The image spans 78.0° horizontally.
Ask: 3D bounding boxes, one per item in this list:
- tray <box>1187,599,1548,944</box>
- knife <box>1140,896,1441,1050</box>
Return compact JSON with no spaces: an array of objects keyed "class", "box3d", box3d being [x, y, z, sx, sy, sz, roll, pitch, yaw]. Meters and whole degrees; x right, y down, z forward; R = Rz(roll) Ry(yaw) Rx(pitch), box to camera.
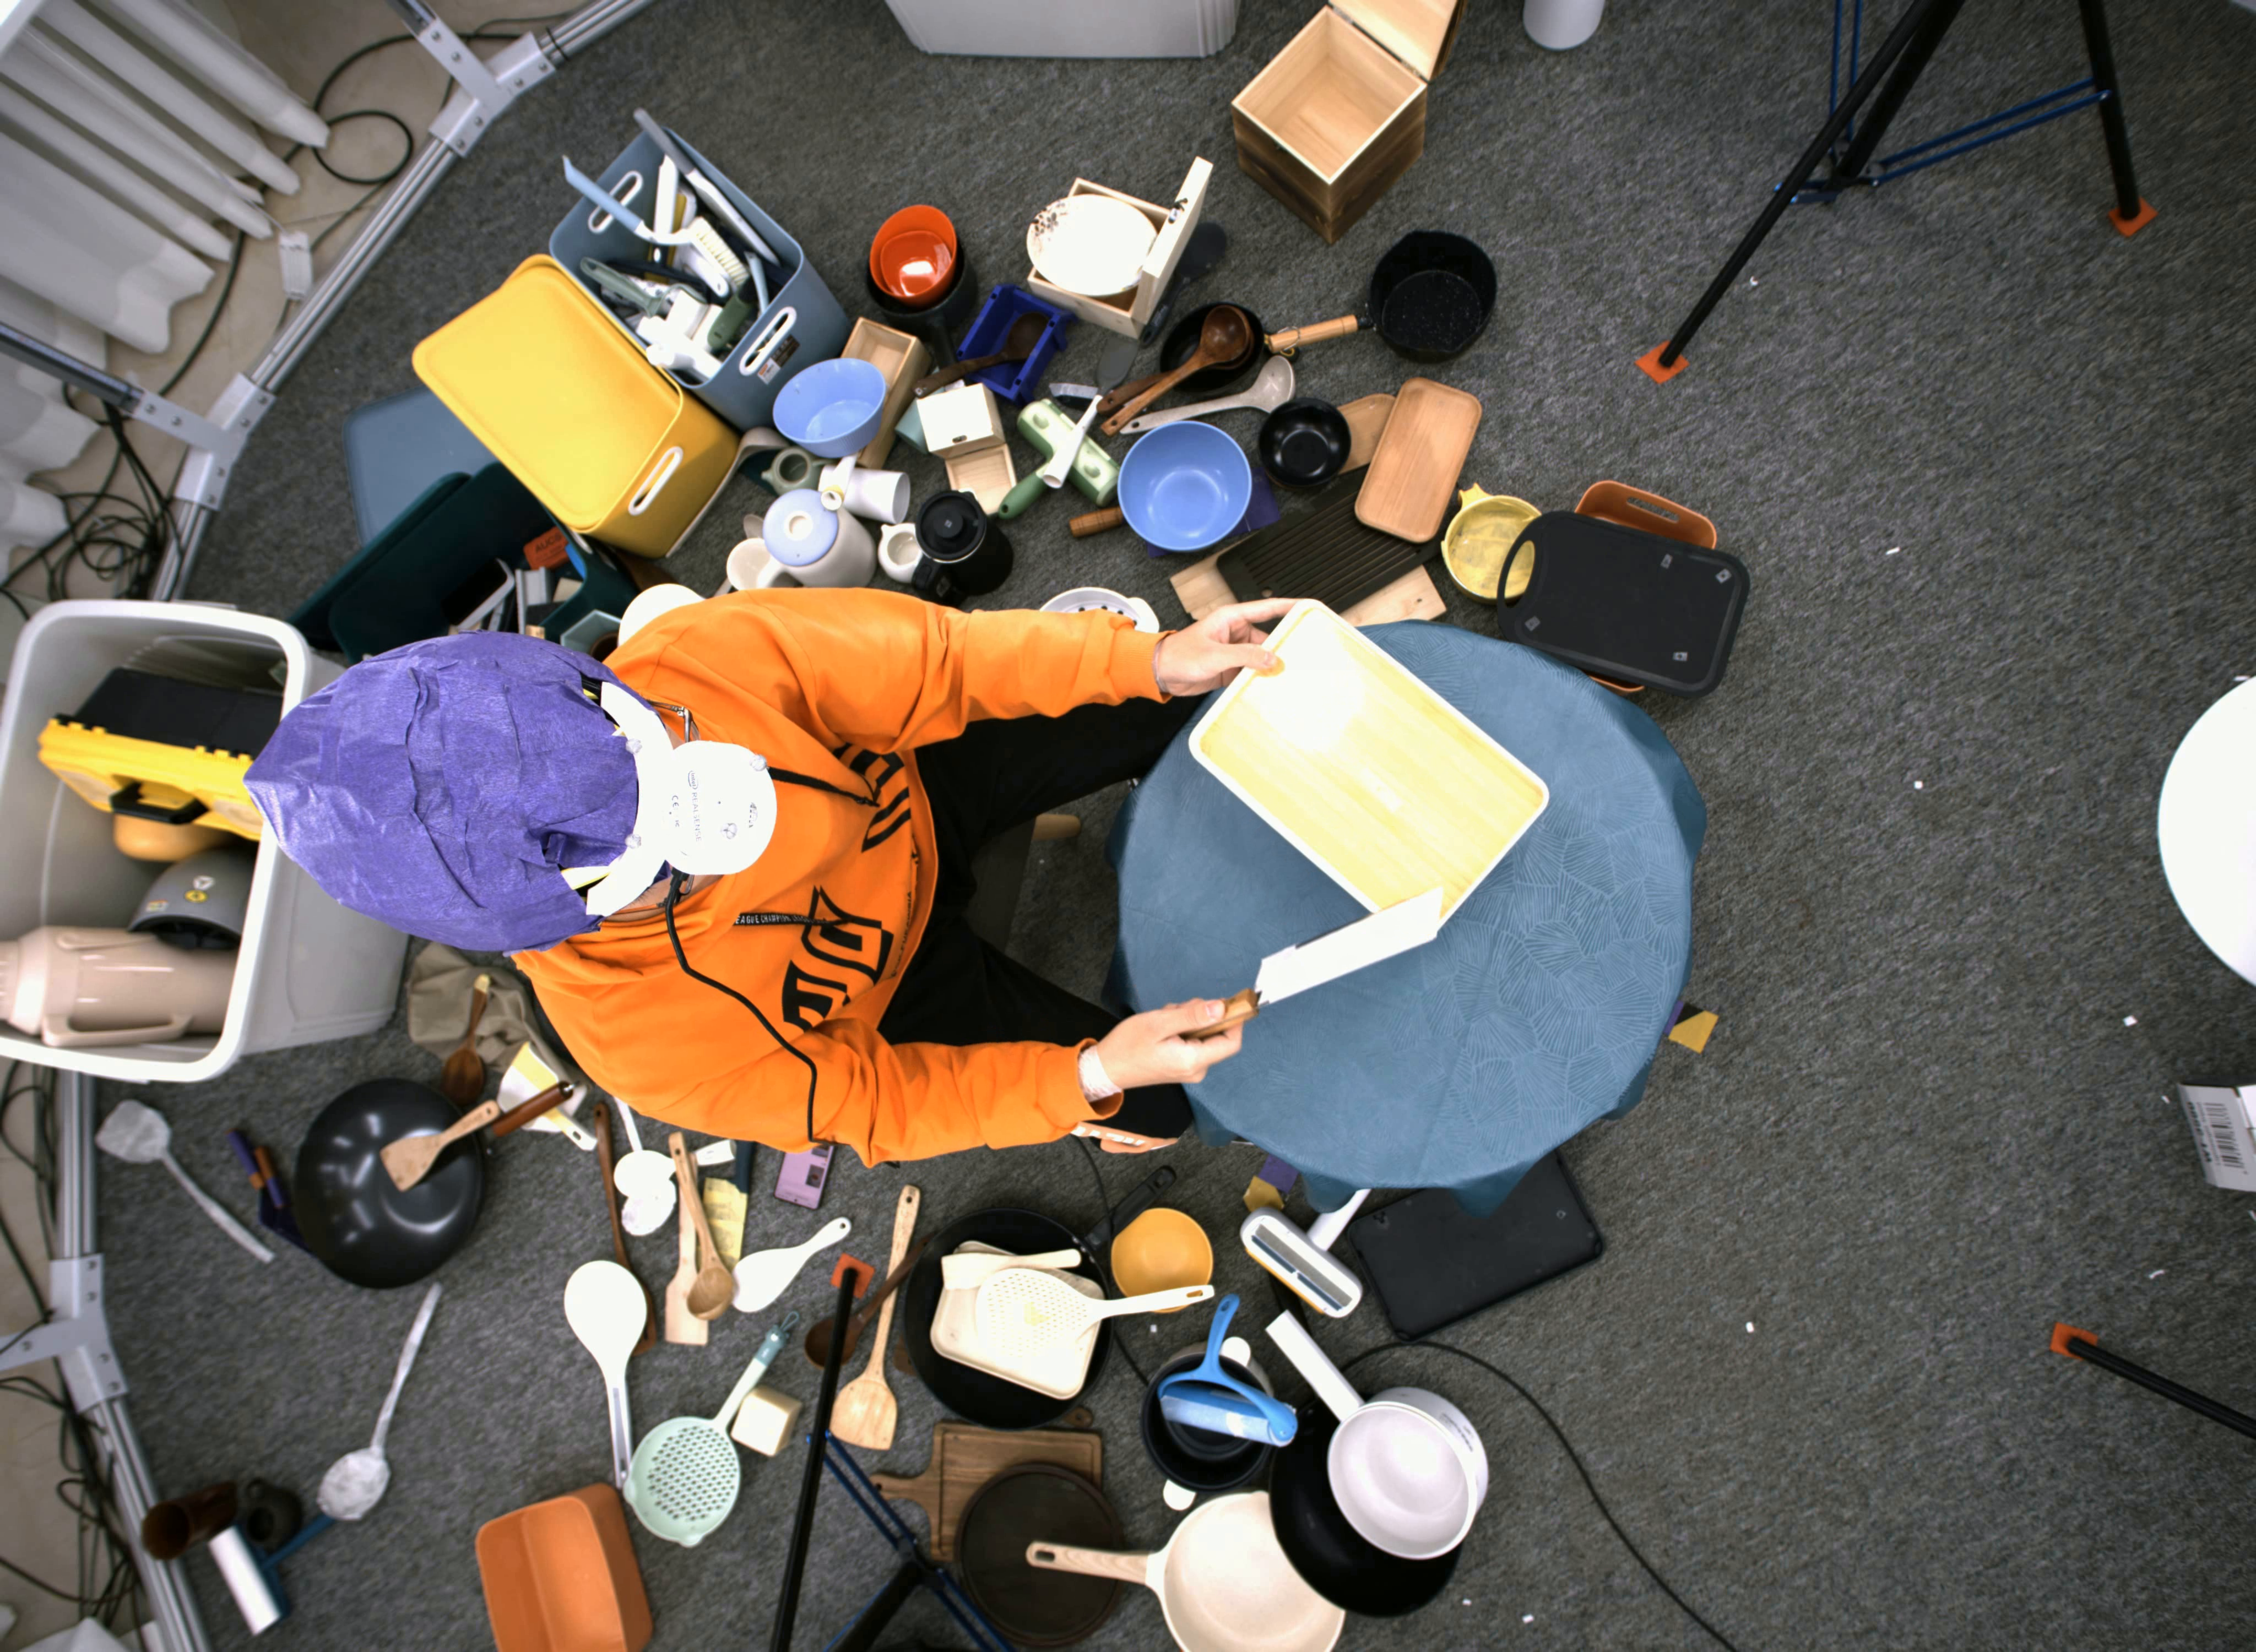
[{"class":"tray","box3d":[0.219,-0.054,1.287,0.298,0.027,0.193,42,103,13]},{"class":"knife","box3d":[0.146,0.131,1.265,0.310,0.090,0.021,-26,109,28]}]
